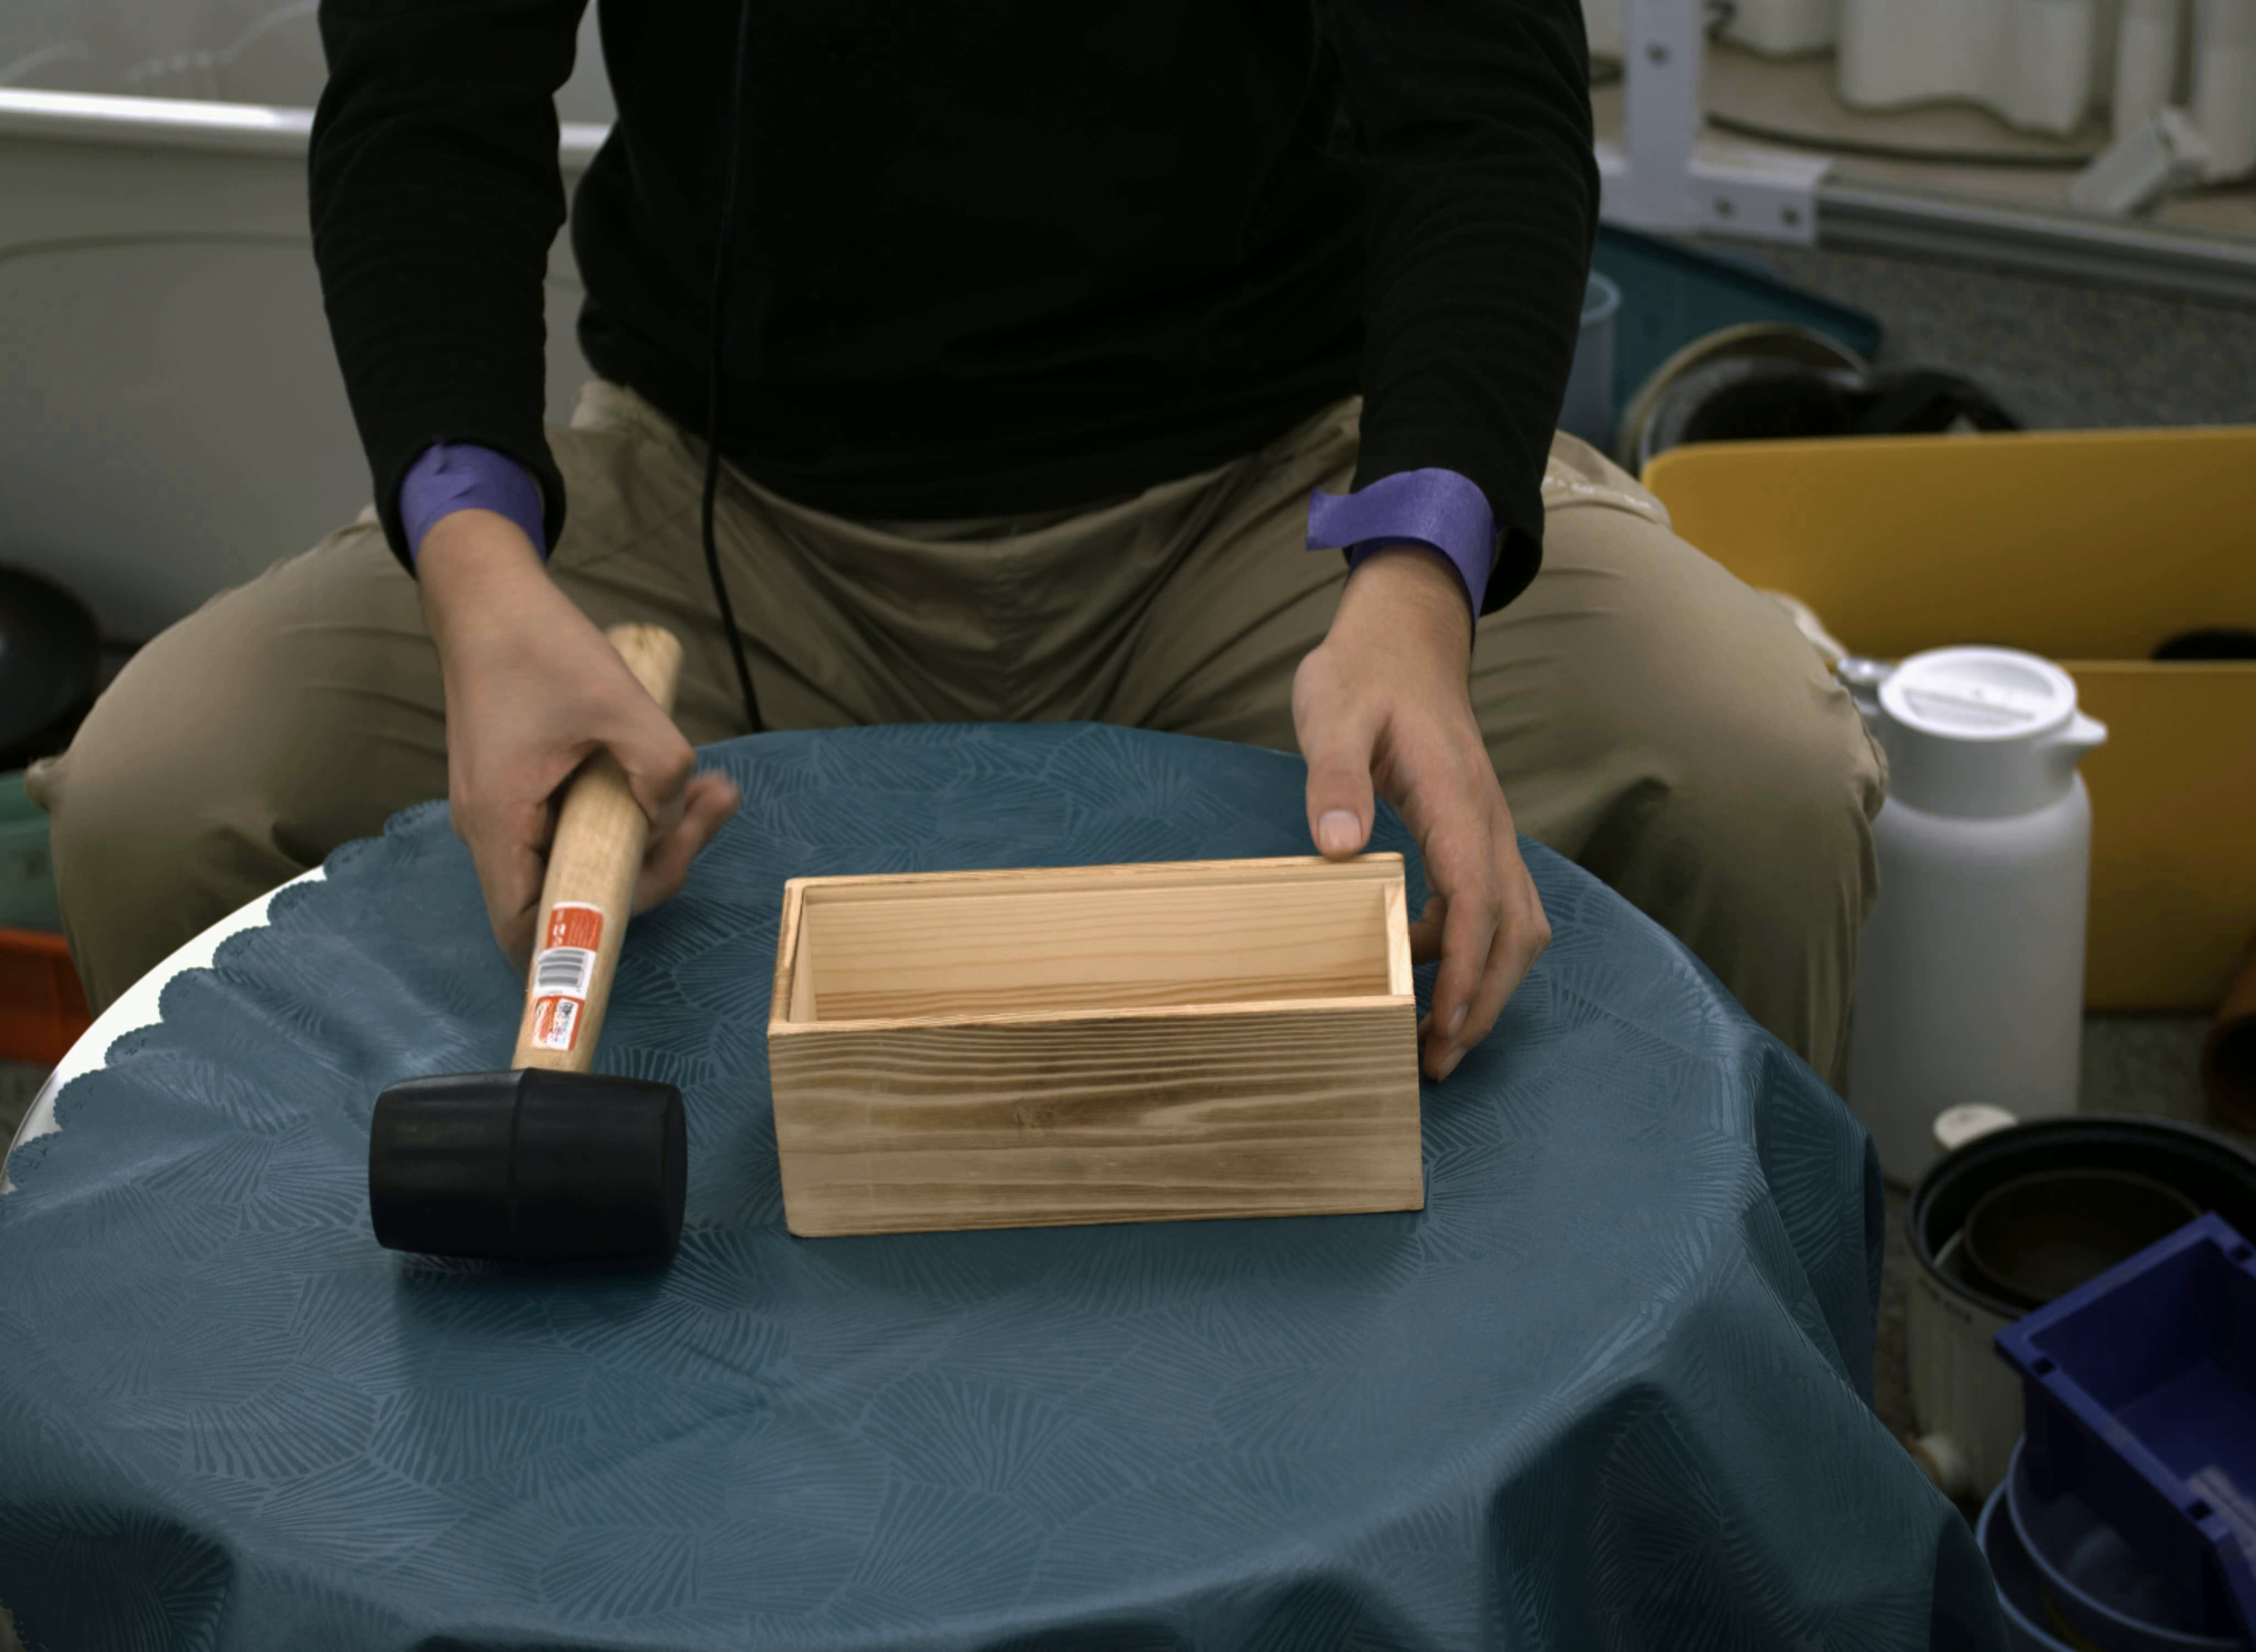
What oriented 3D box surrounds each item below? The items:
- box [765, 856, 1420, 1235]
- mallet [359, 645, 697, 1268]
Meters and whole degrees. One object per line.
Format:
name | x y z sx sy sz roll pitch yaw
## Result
box | -0.010 0.072 1.869 0.210 0.079 0.109 -2 26 1
mallet | -0.188 0.030 1.942 0.101 0.063 0.345 4 36 2
